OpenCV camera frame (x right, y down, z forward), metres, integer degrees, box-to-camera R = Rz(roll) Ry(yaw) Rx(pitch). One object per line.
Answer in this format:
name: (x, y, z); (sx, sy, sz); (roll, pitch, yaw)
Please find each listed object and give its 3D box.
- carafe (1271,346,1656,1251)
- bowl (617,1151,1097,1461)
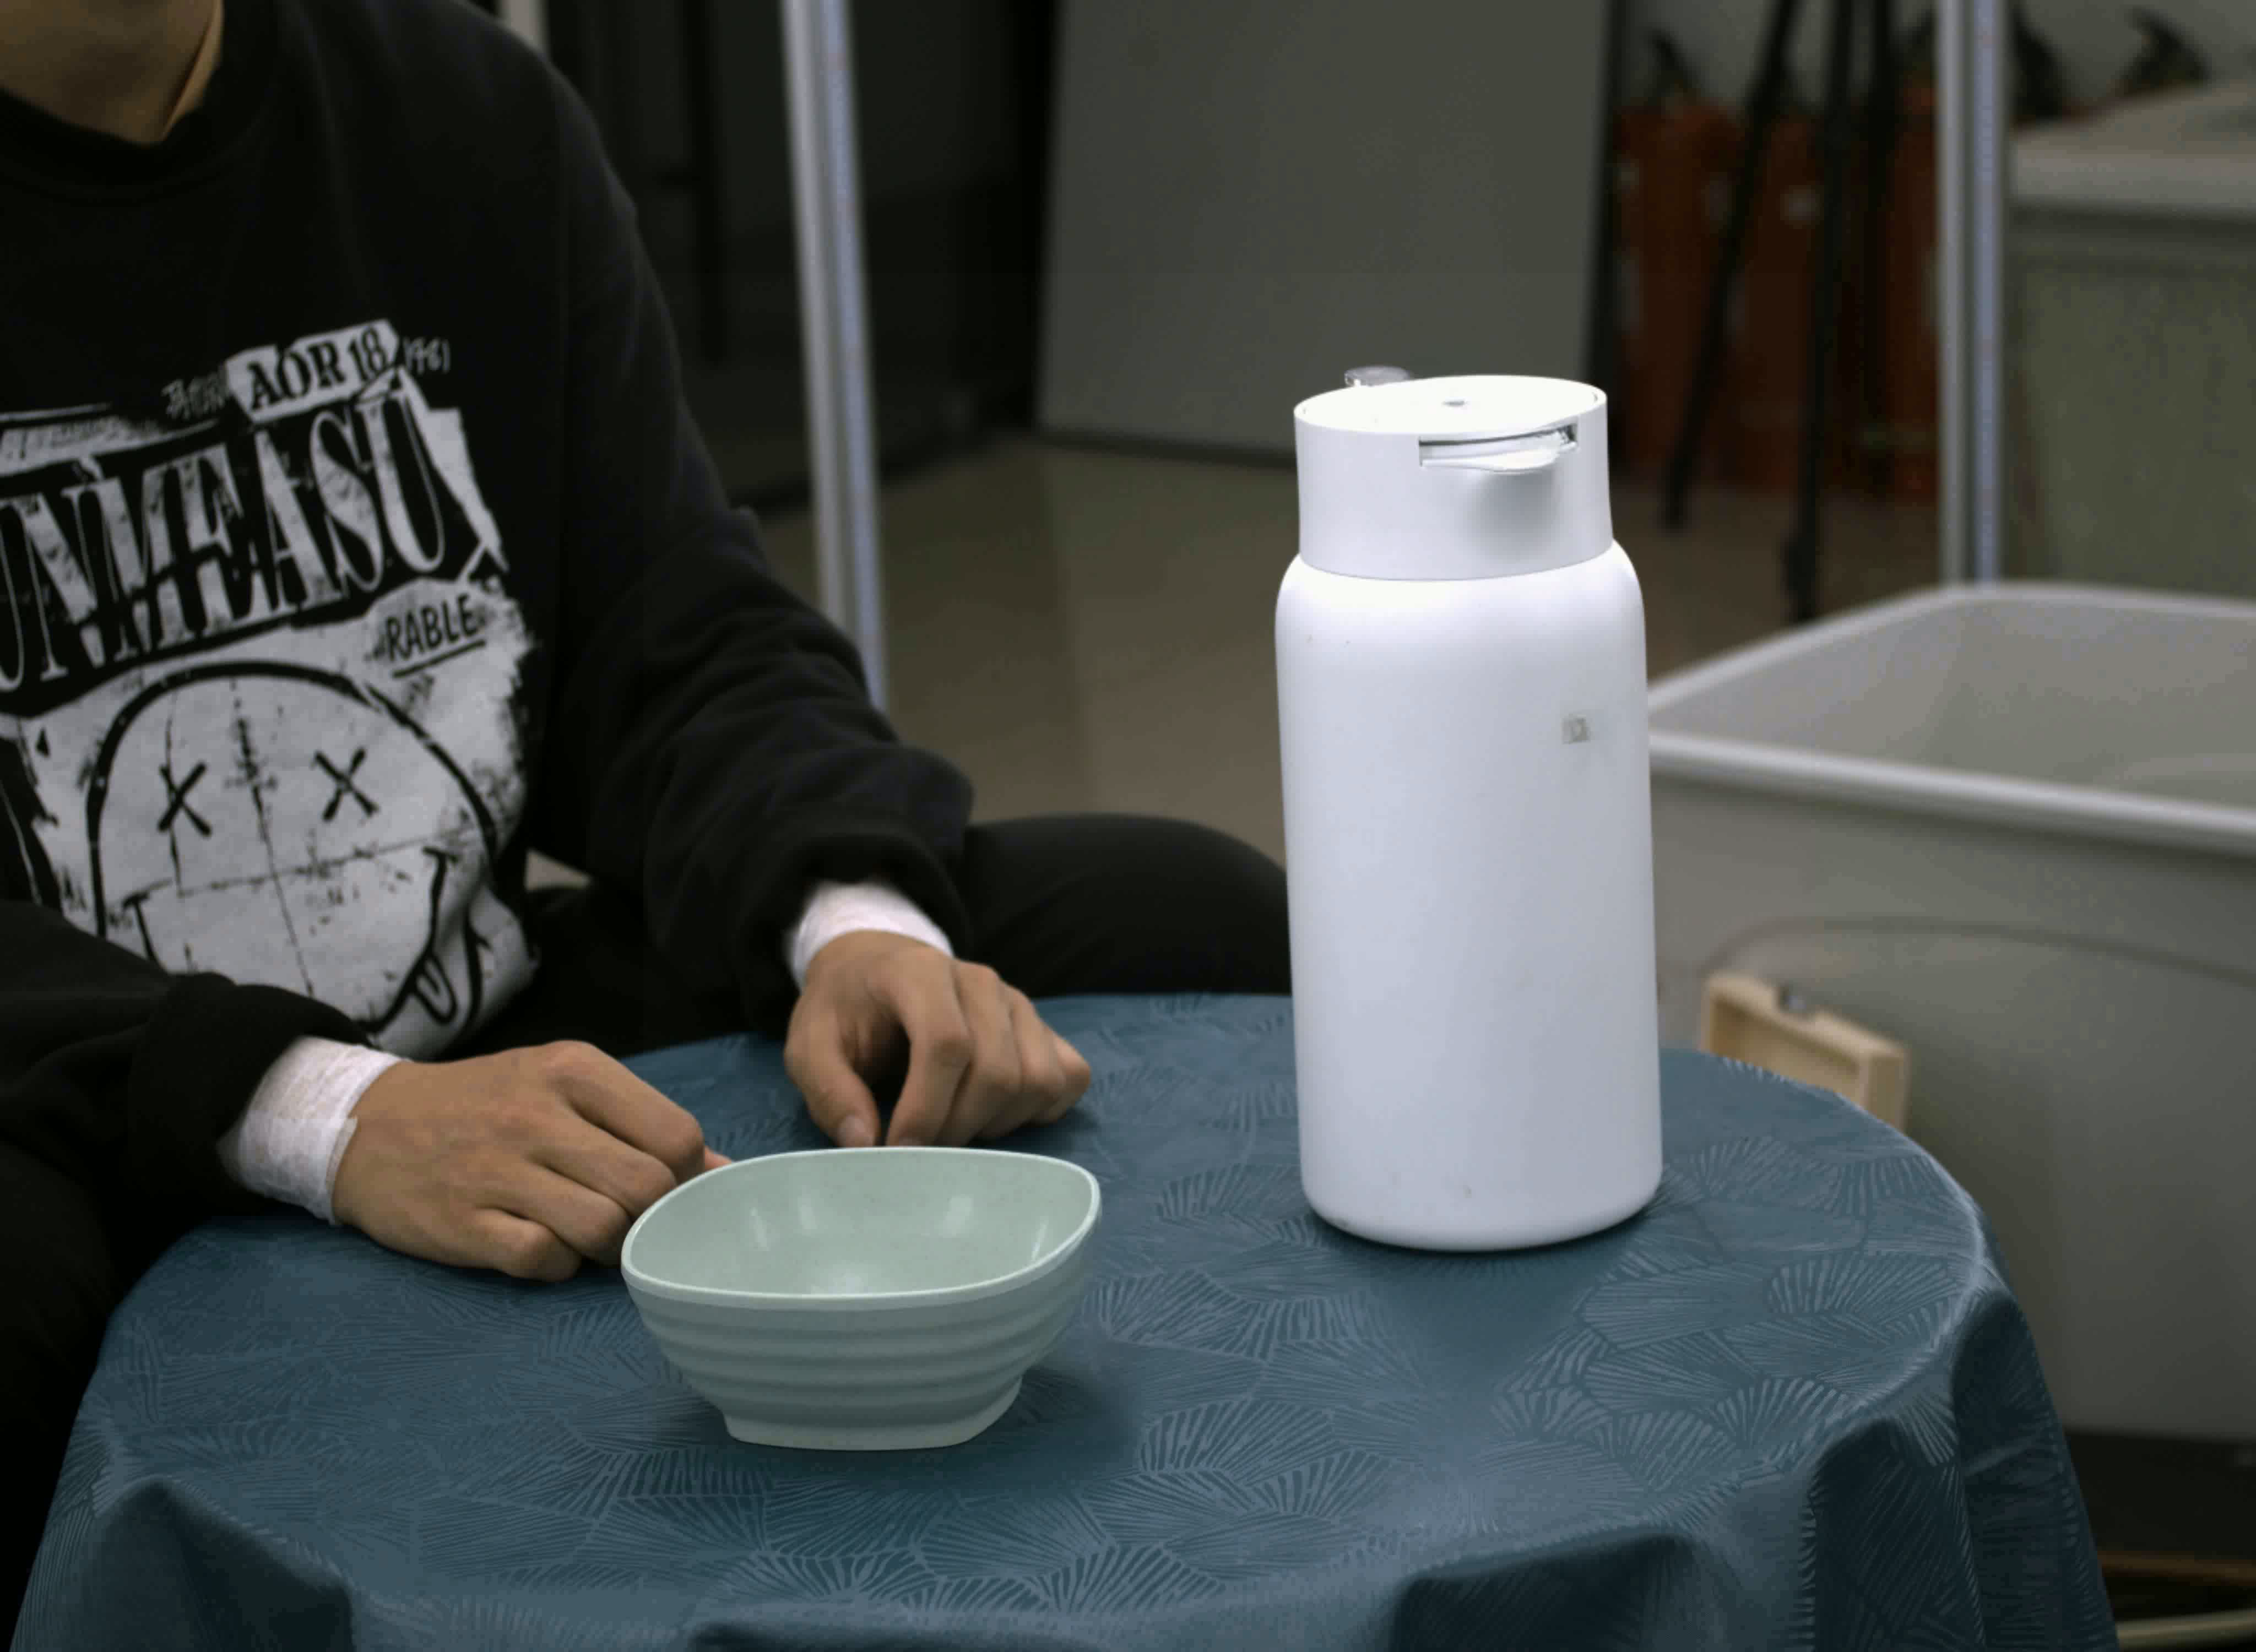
carafe: (0.099, -0.012, 1.721); (0.121, 0.272, 0.174); (-10, 15, -17)
bowl: (-0.077, 0.145, 1.591); (0.149, 0.059, 0.152); (-4, 14, 0)
